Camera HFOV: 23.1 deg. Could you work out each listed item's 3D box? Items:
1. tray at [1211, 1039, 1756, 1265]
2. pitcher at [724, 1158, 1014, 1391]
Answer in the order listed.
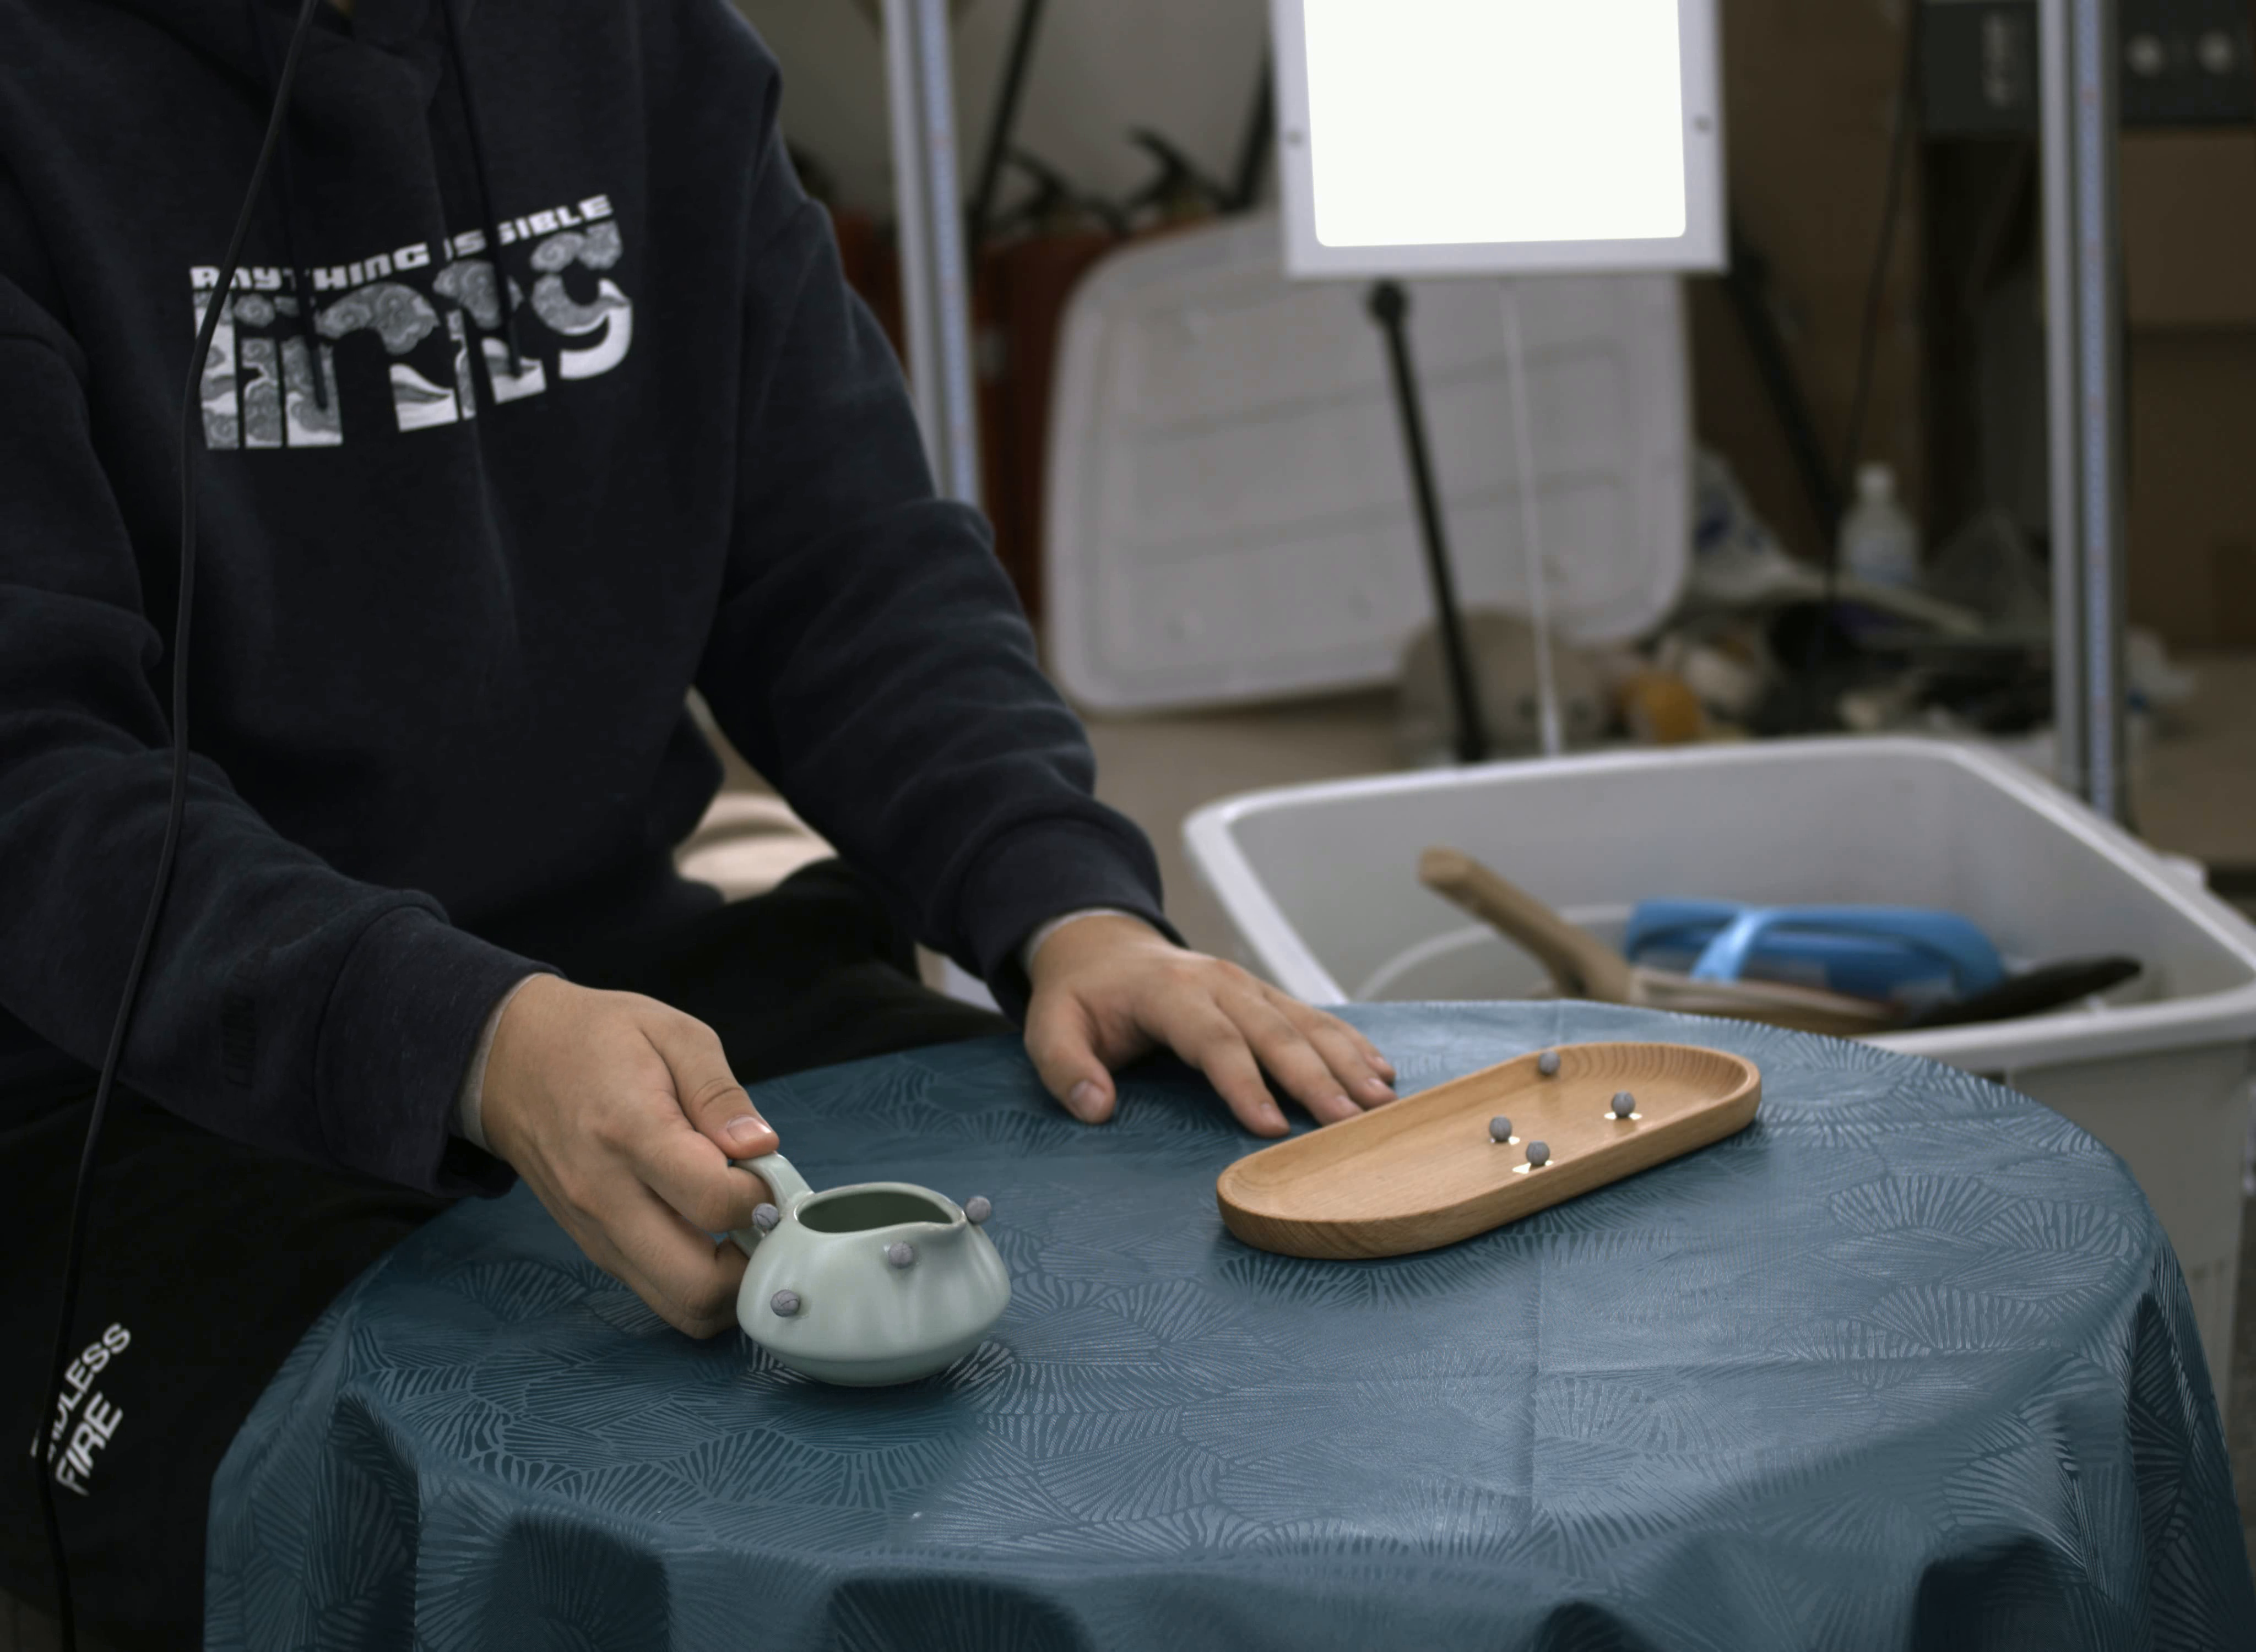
[{"bbox_3d":[0.125,0.111,1.887,0.225,0.020,0.104,-20,18,-40],"label":"tray"},{"bbox_3d":[-0.088,0.140,1.735,0.110,0.060,0.084,11,20,42],"label":"pitcher"}]
